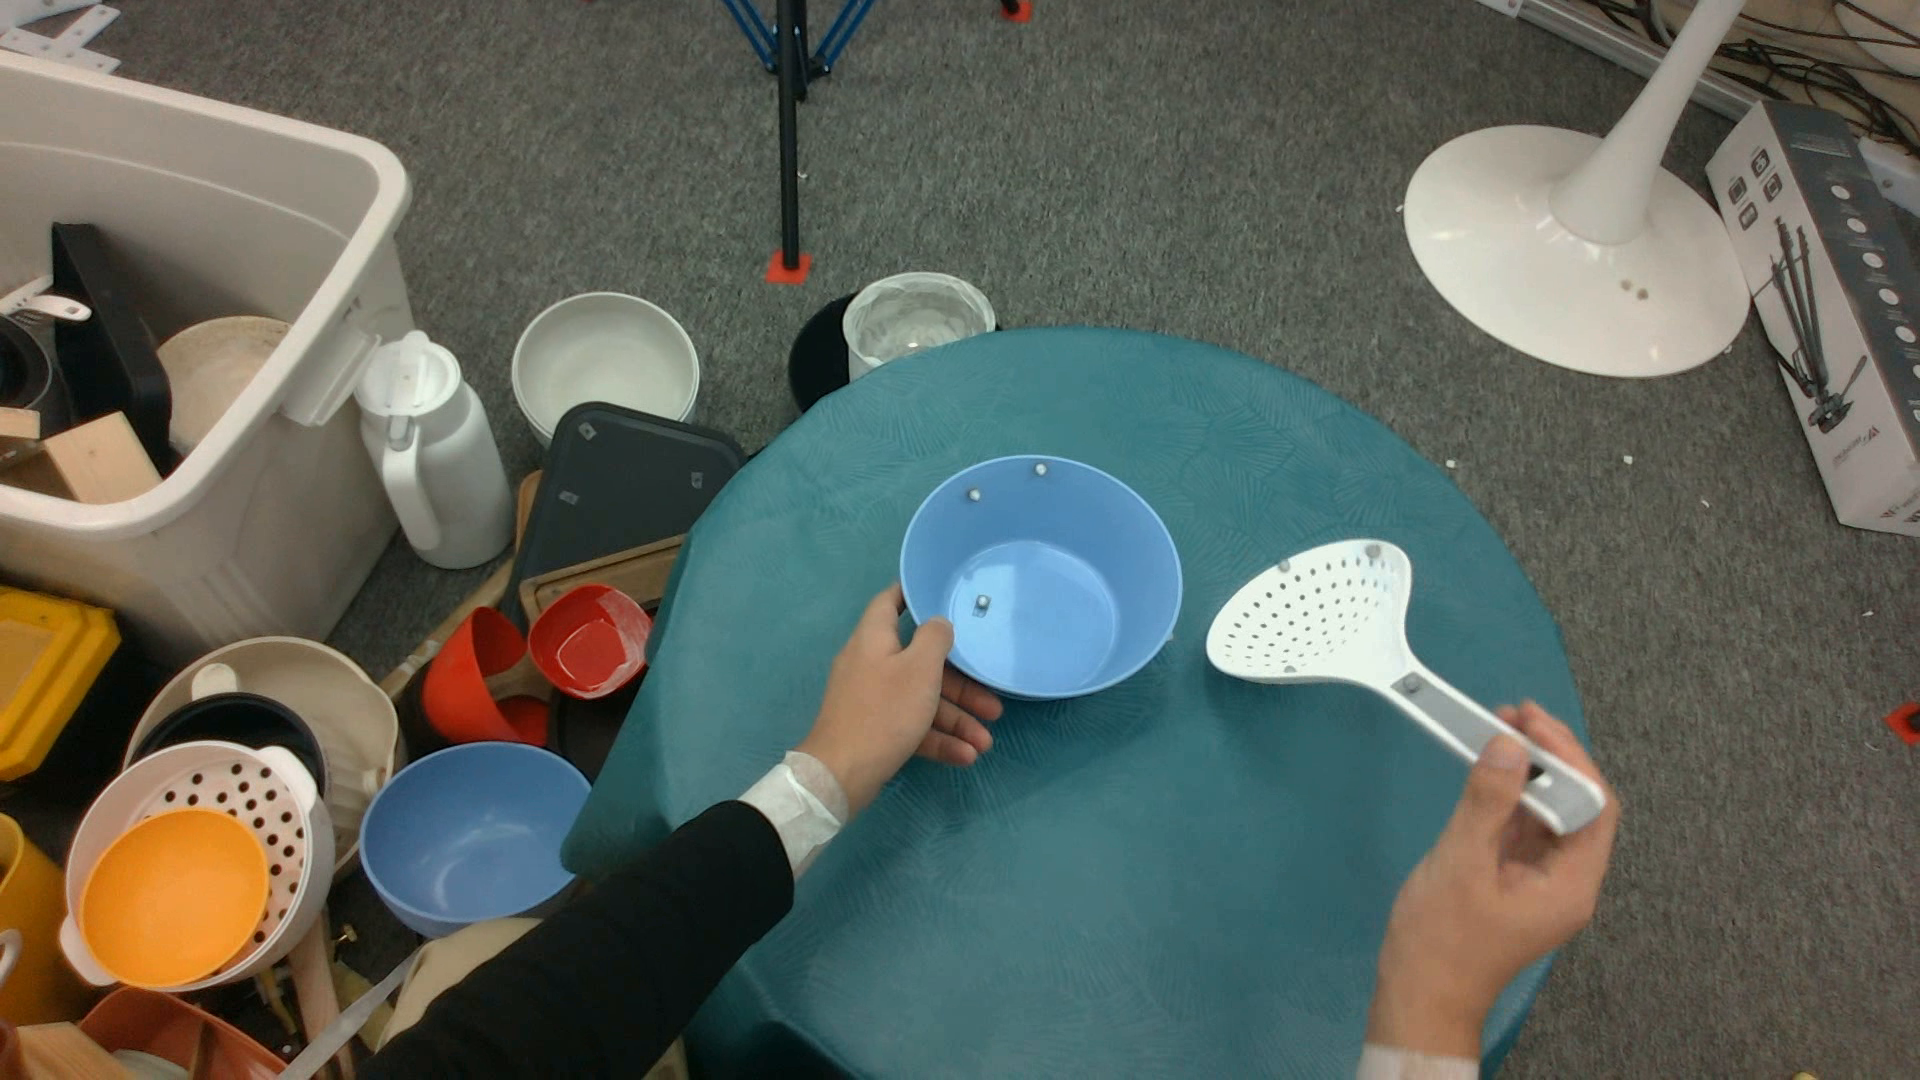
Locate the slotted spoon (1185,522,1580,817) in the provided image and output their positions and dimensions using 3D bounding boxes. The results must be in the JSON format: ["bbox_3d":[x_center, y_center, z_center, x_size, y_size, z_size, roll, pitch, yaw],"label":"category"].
[{"bbox_3d":[0.228,0.066,0.769,0.136,0.350,0.045,-36,105,-1],"label":"slotted spoon"}]

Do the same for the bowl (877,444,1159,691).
[{"bbox_3d":[0.033,0.029,0.874,0.176,0.070,0.177,3,58,-5],"label":"bowl"}]
